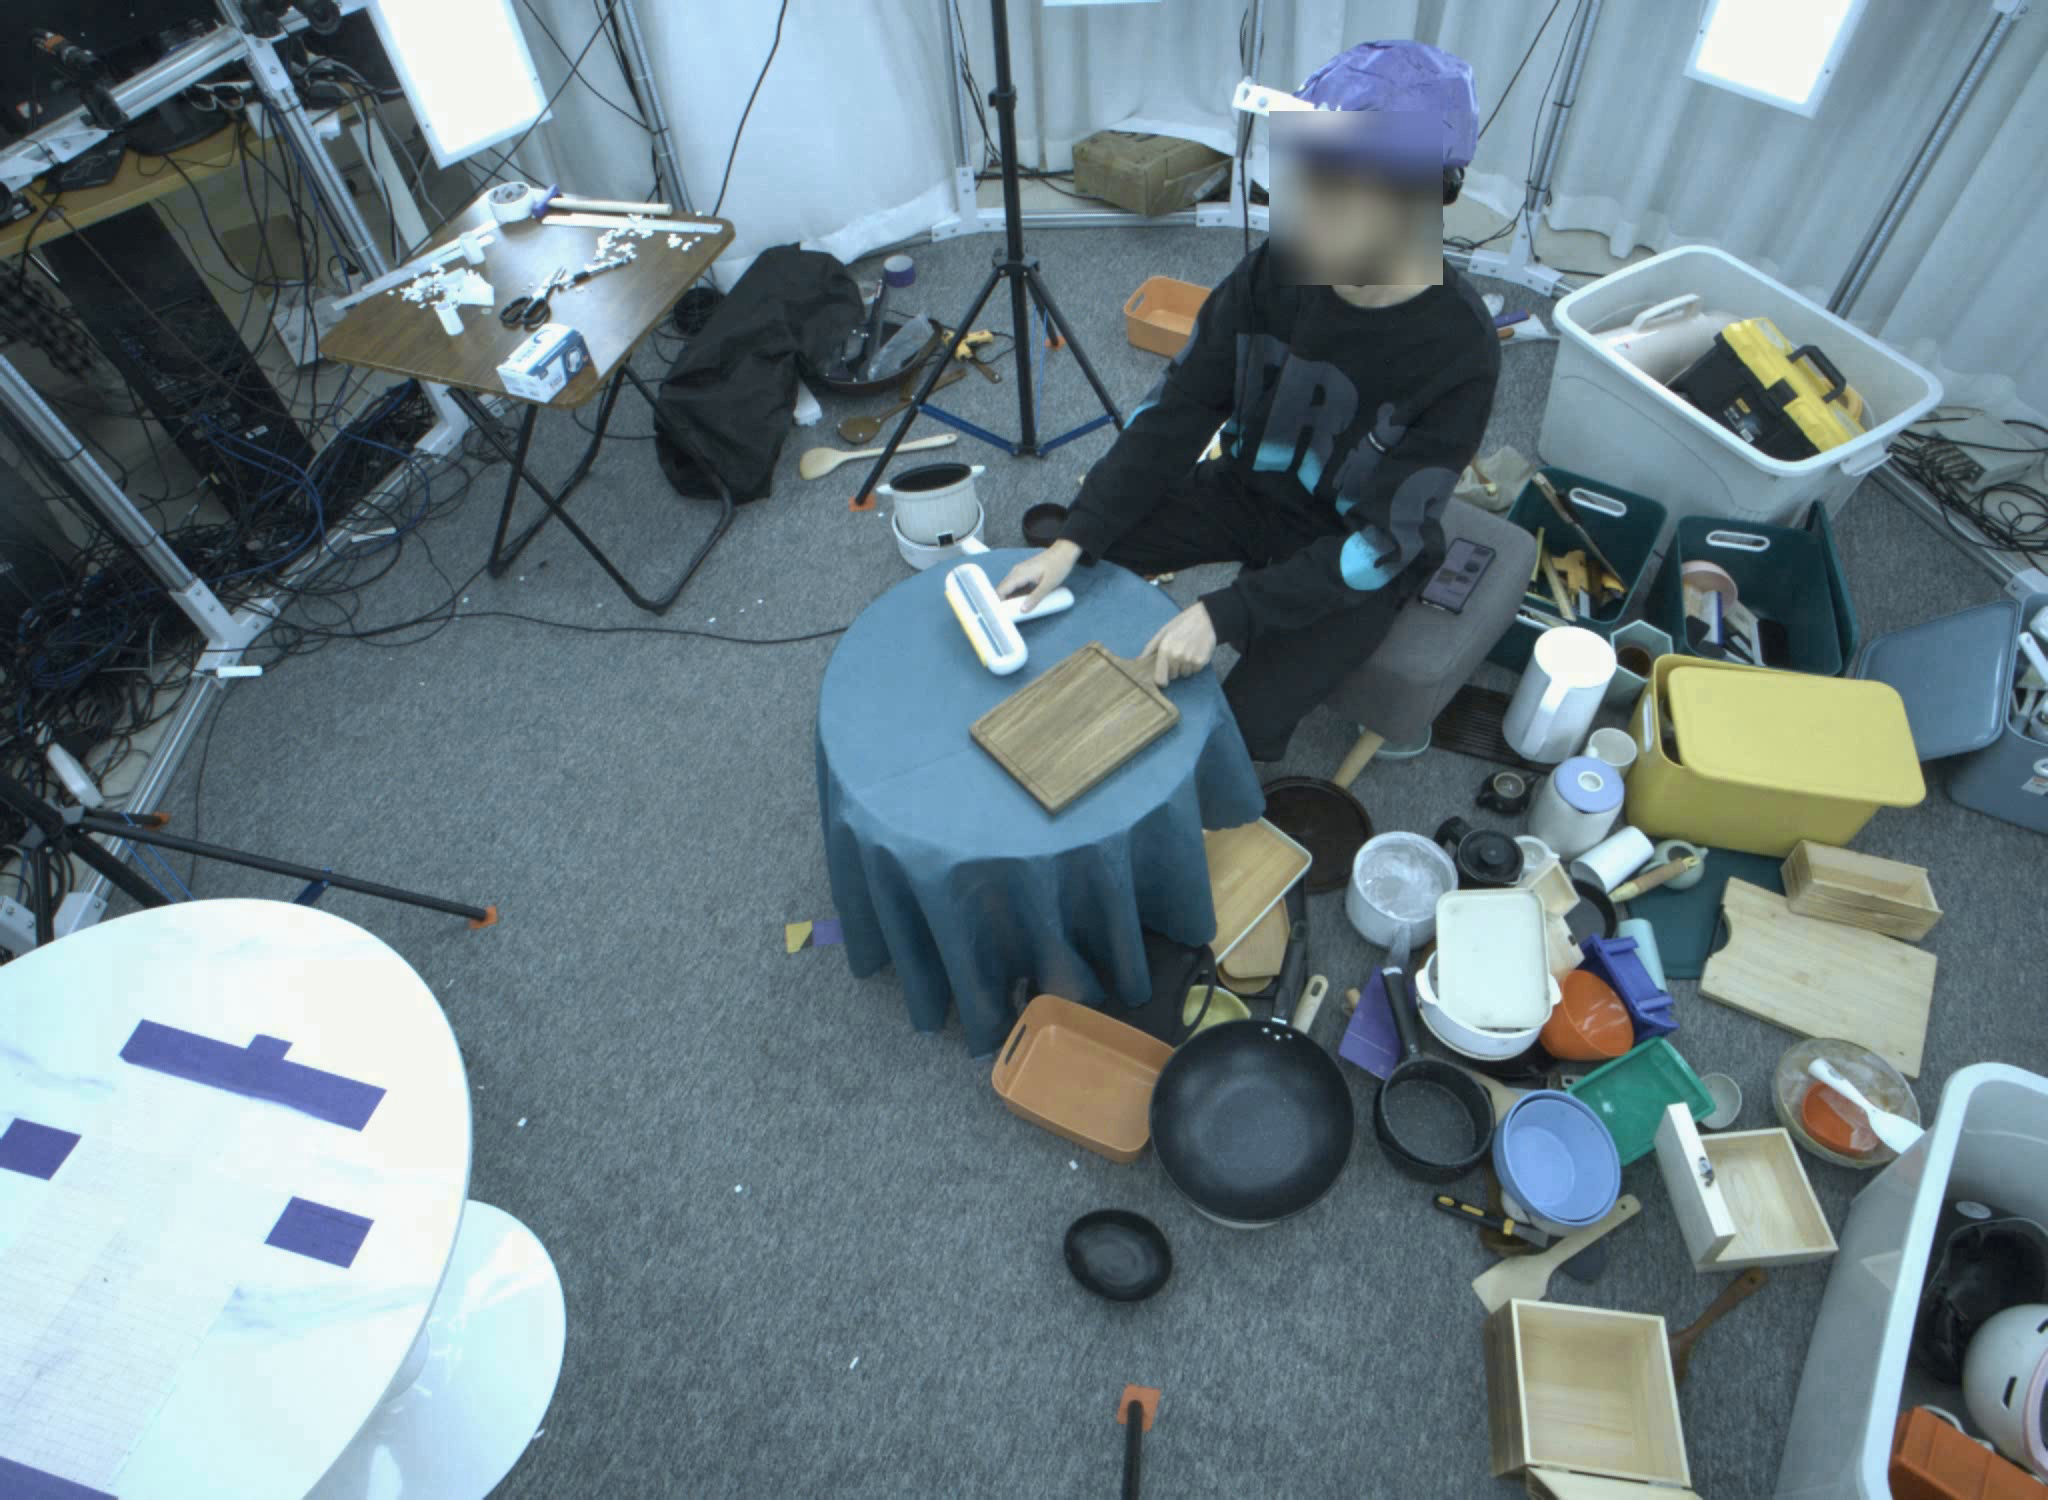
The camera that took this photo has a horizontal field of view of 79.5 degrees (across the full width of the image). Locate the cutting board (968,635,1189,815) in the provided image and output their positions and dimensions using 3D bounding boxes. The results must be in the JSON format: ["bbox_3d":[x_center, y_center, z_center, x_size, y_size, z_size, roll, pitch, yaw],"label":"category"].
[{"bbox_3d":[0.110,-0.066,1.806,0.354,0.023,0.197,-36,60,-19],"label":"cutting board"}]

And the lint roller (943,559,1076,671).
[{"bbox_3d":[-0.009,-0.222,1.899,0.194,0.074,0.190,-20,64,-13],"label":"lint roller"}]
